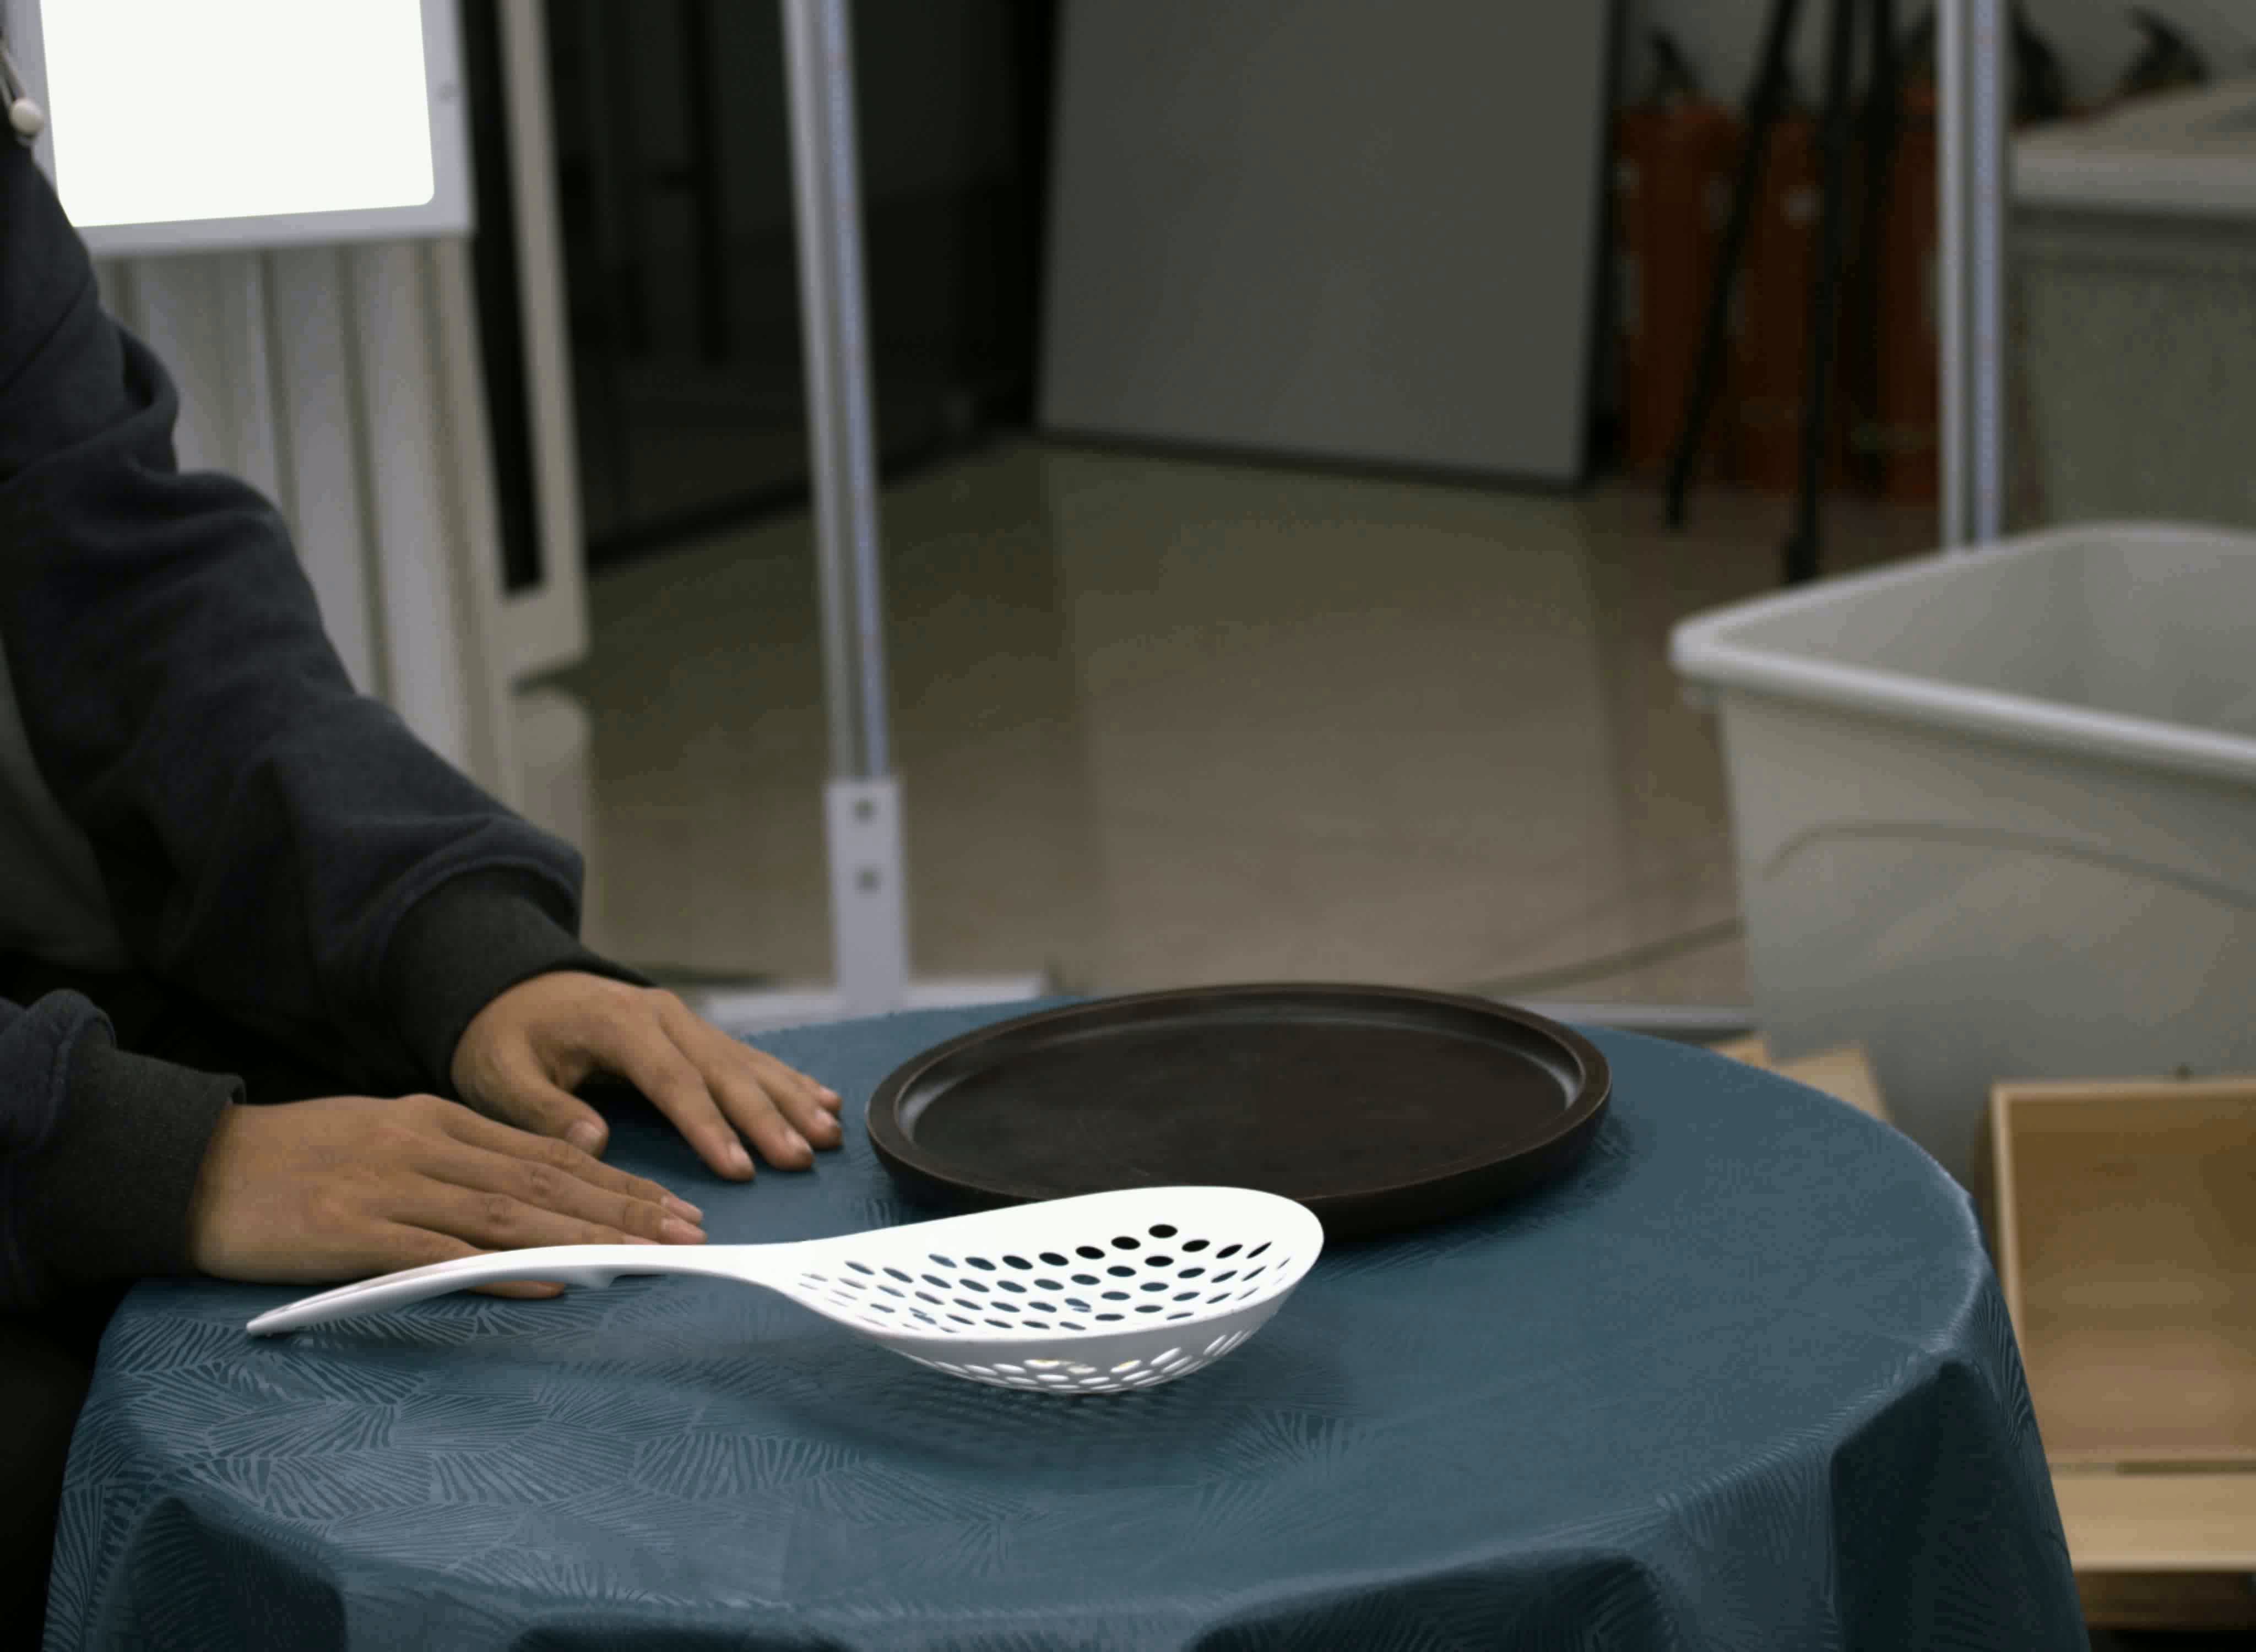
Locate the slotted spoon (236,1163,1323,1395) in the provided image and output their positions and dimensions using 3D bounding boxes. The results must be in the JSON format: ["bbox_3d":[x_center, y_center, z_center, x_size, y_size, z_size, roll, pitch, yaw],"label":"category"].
[{"bbox_3d":[-0.109,0.142,1.626,0.347,0.051,0.135,1,16,18],"label":"slotted spoon"}]

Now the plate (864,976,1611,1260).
[{"bbox_3d":[0.037,0.099,1.802,0.251,0.029,0.255,-5,15,0],"label":"plate"}]
